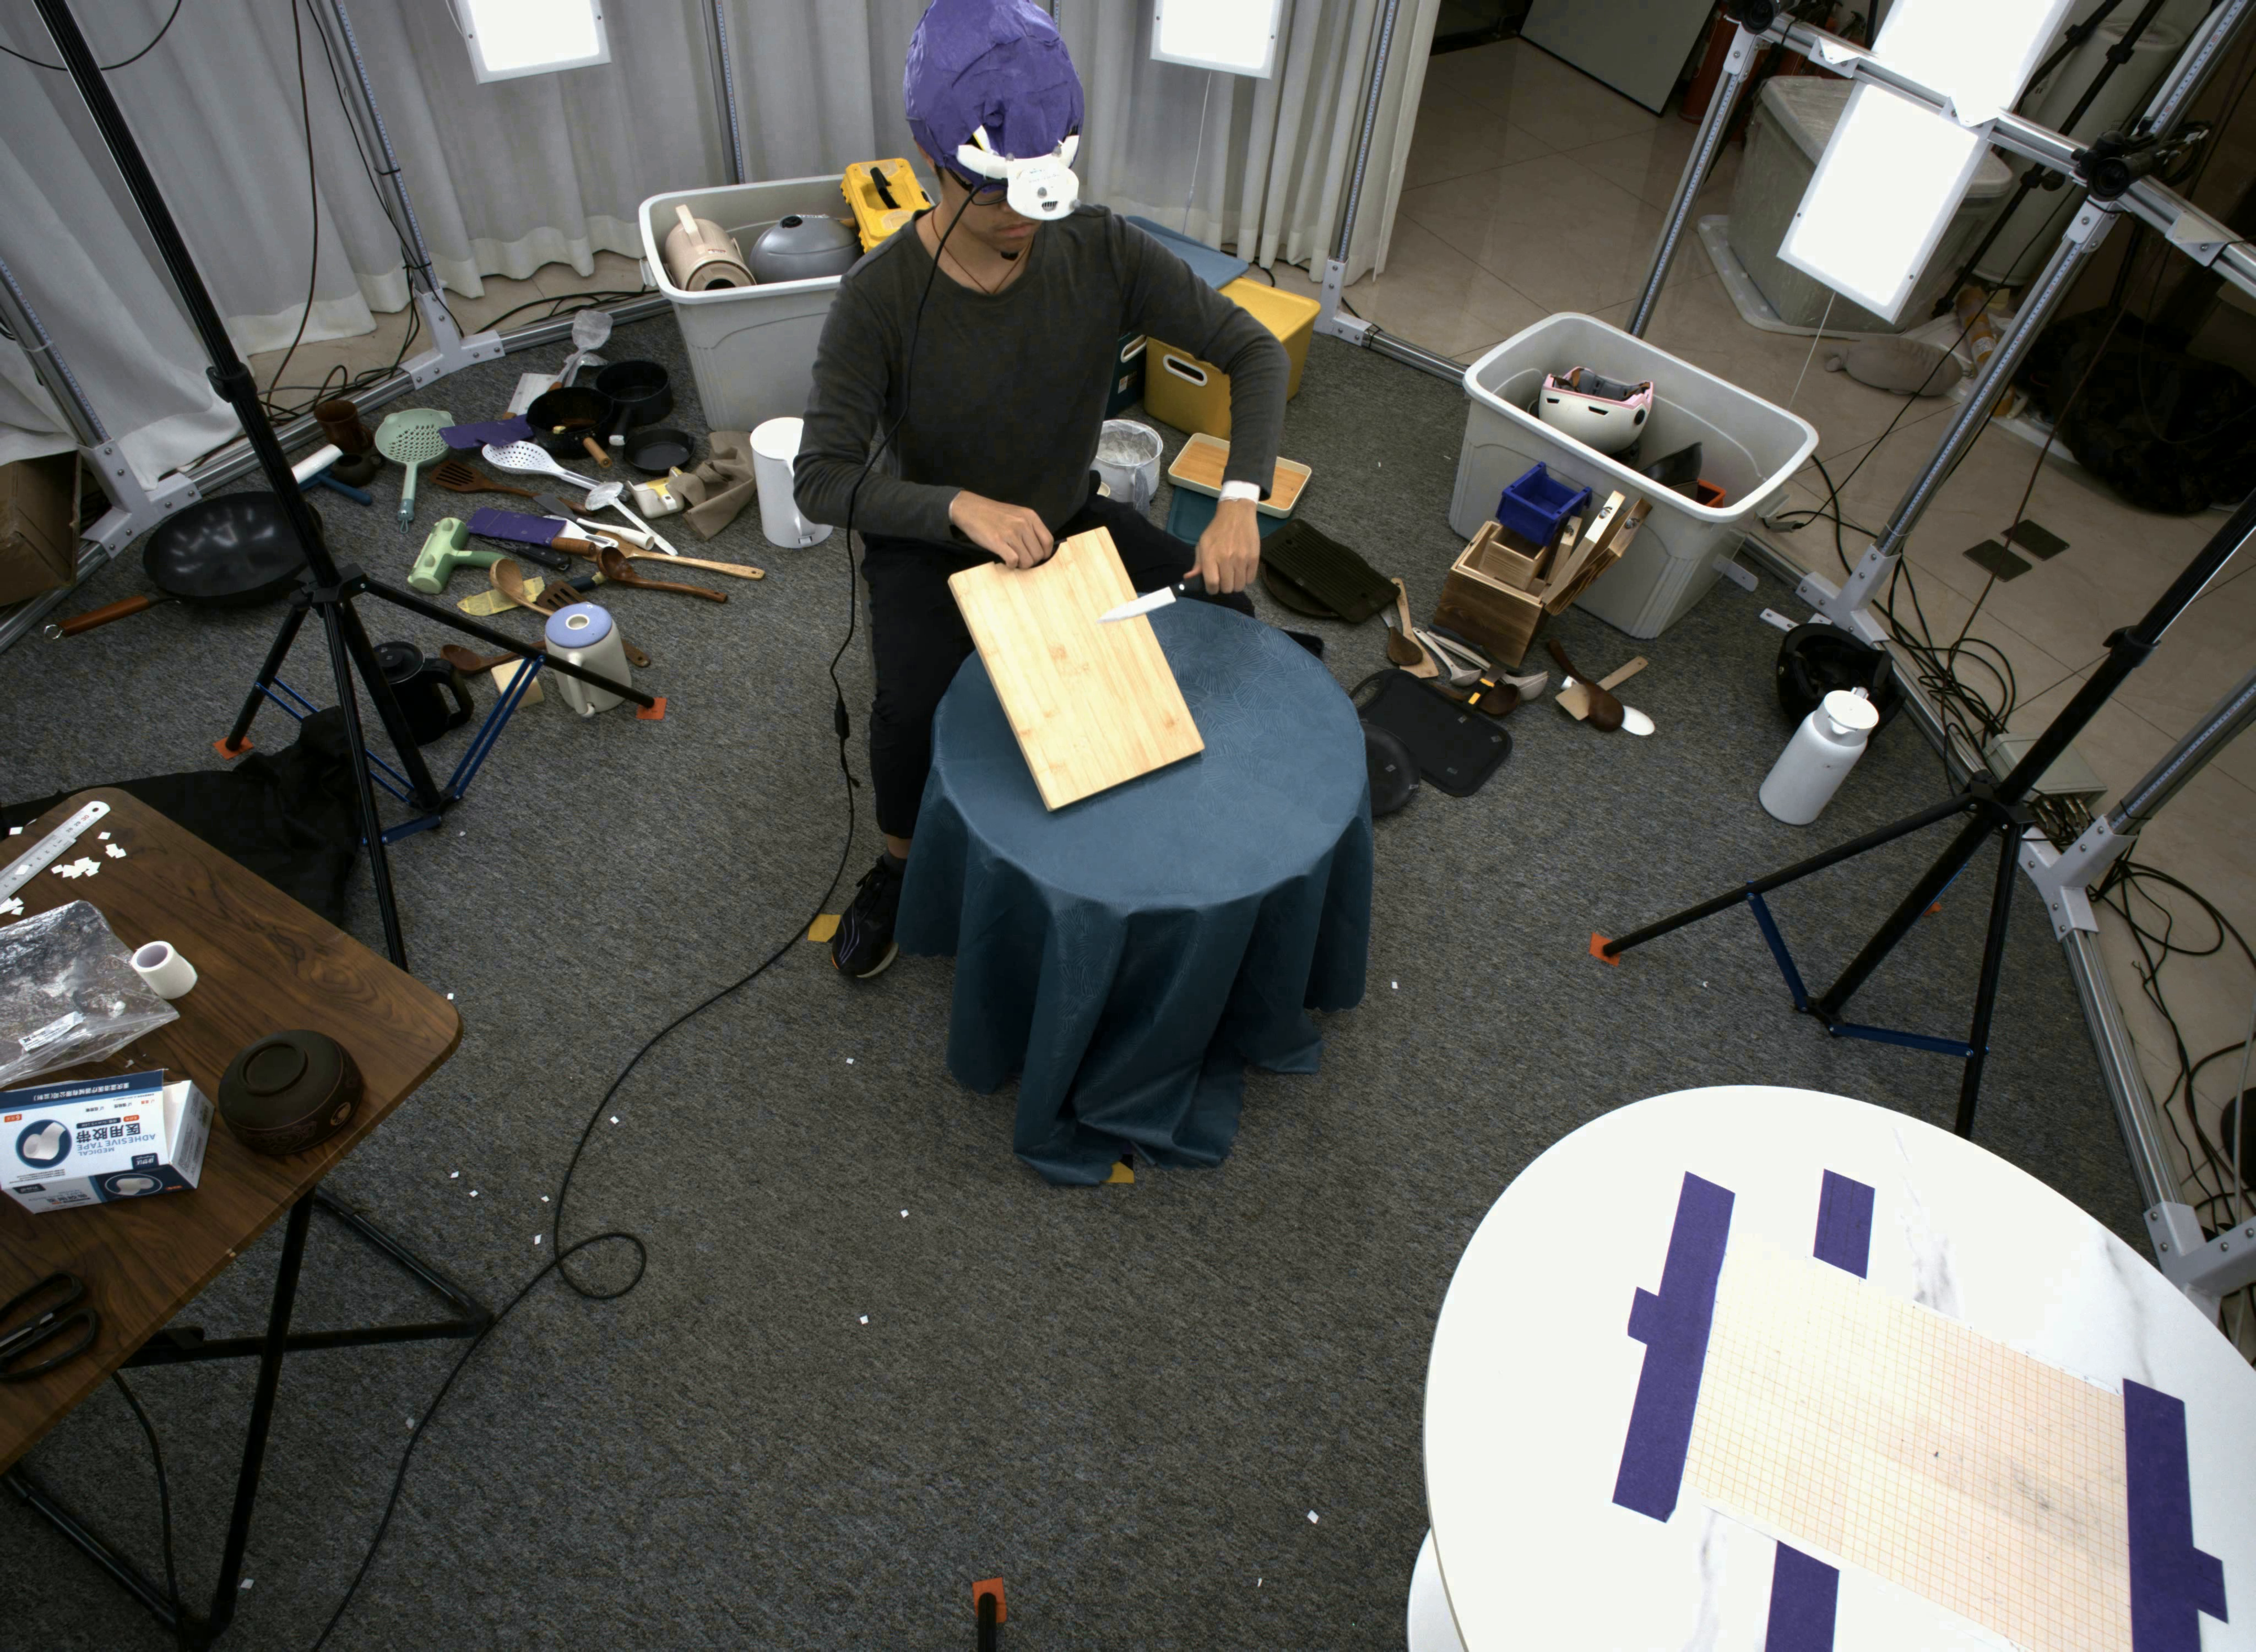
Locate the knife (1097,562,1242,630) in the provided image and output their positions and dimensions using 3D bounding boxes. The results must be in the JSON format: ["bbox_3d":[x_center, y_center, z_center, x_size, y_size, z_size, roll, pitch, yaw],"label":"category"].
[{"bbox_3d":[0.057,-0.319,1.782,0.239,0.016,0.024,-26,85,-20],"label":"knife"}]

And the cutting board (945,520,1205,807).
[{"bbox_3d":[-0.069,-0.222,1.731,0.251,0.023,0.350,-23,84,-22],"label":"cutting board"}]
